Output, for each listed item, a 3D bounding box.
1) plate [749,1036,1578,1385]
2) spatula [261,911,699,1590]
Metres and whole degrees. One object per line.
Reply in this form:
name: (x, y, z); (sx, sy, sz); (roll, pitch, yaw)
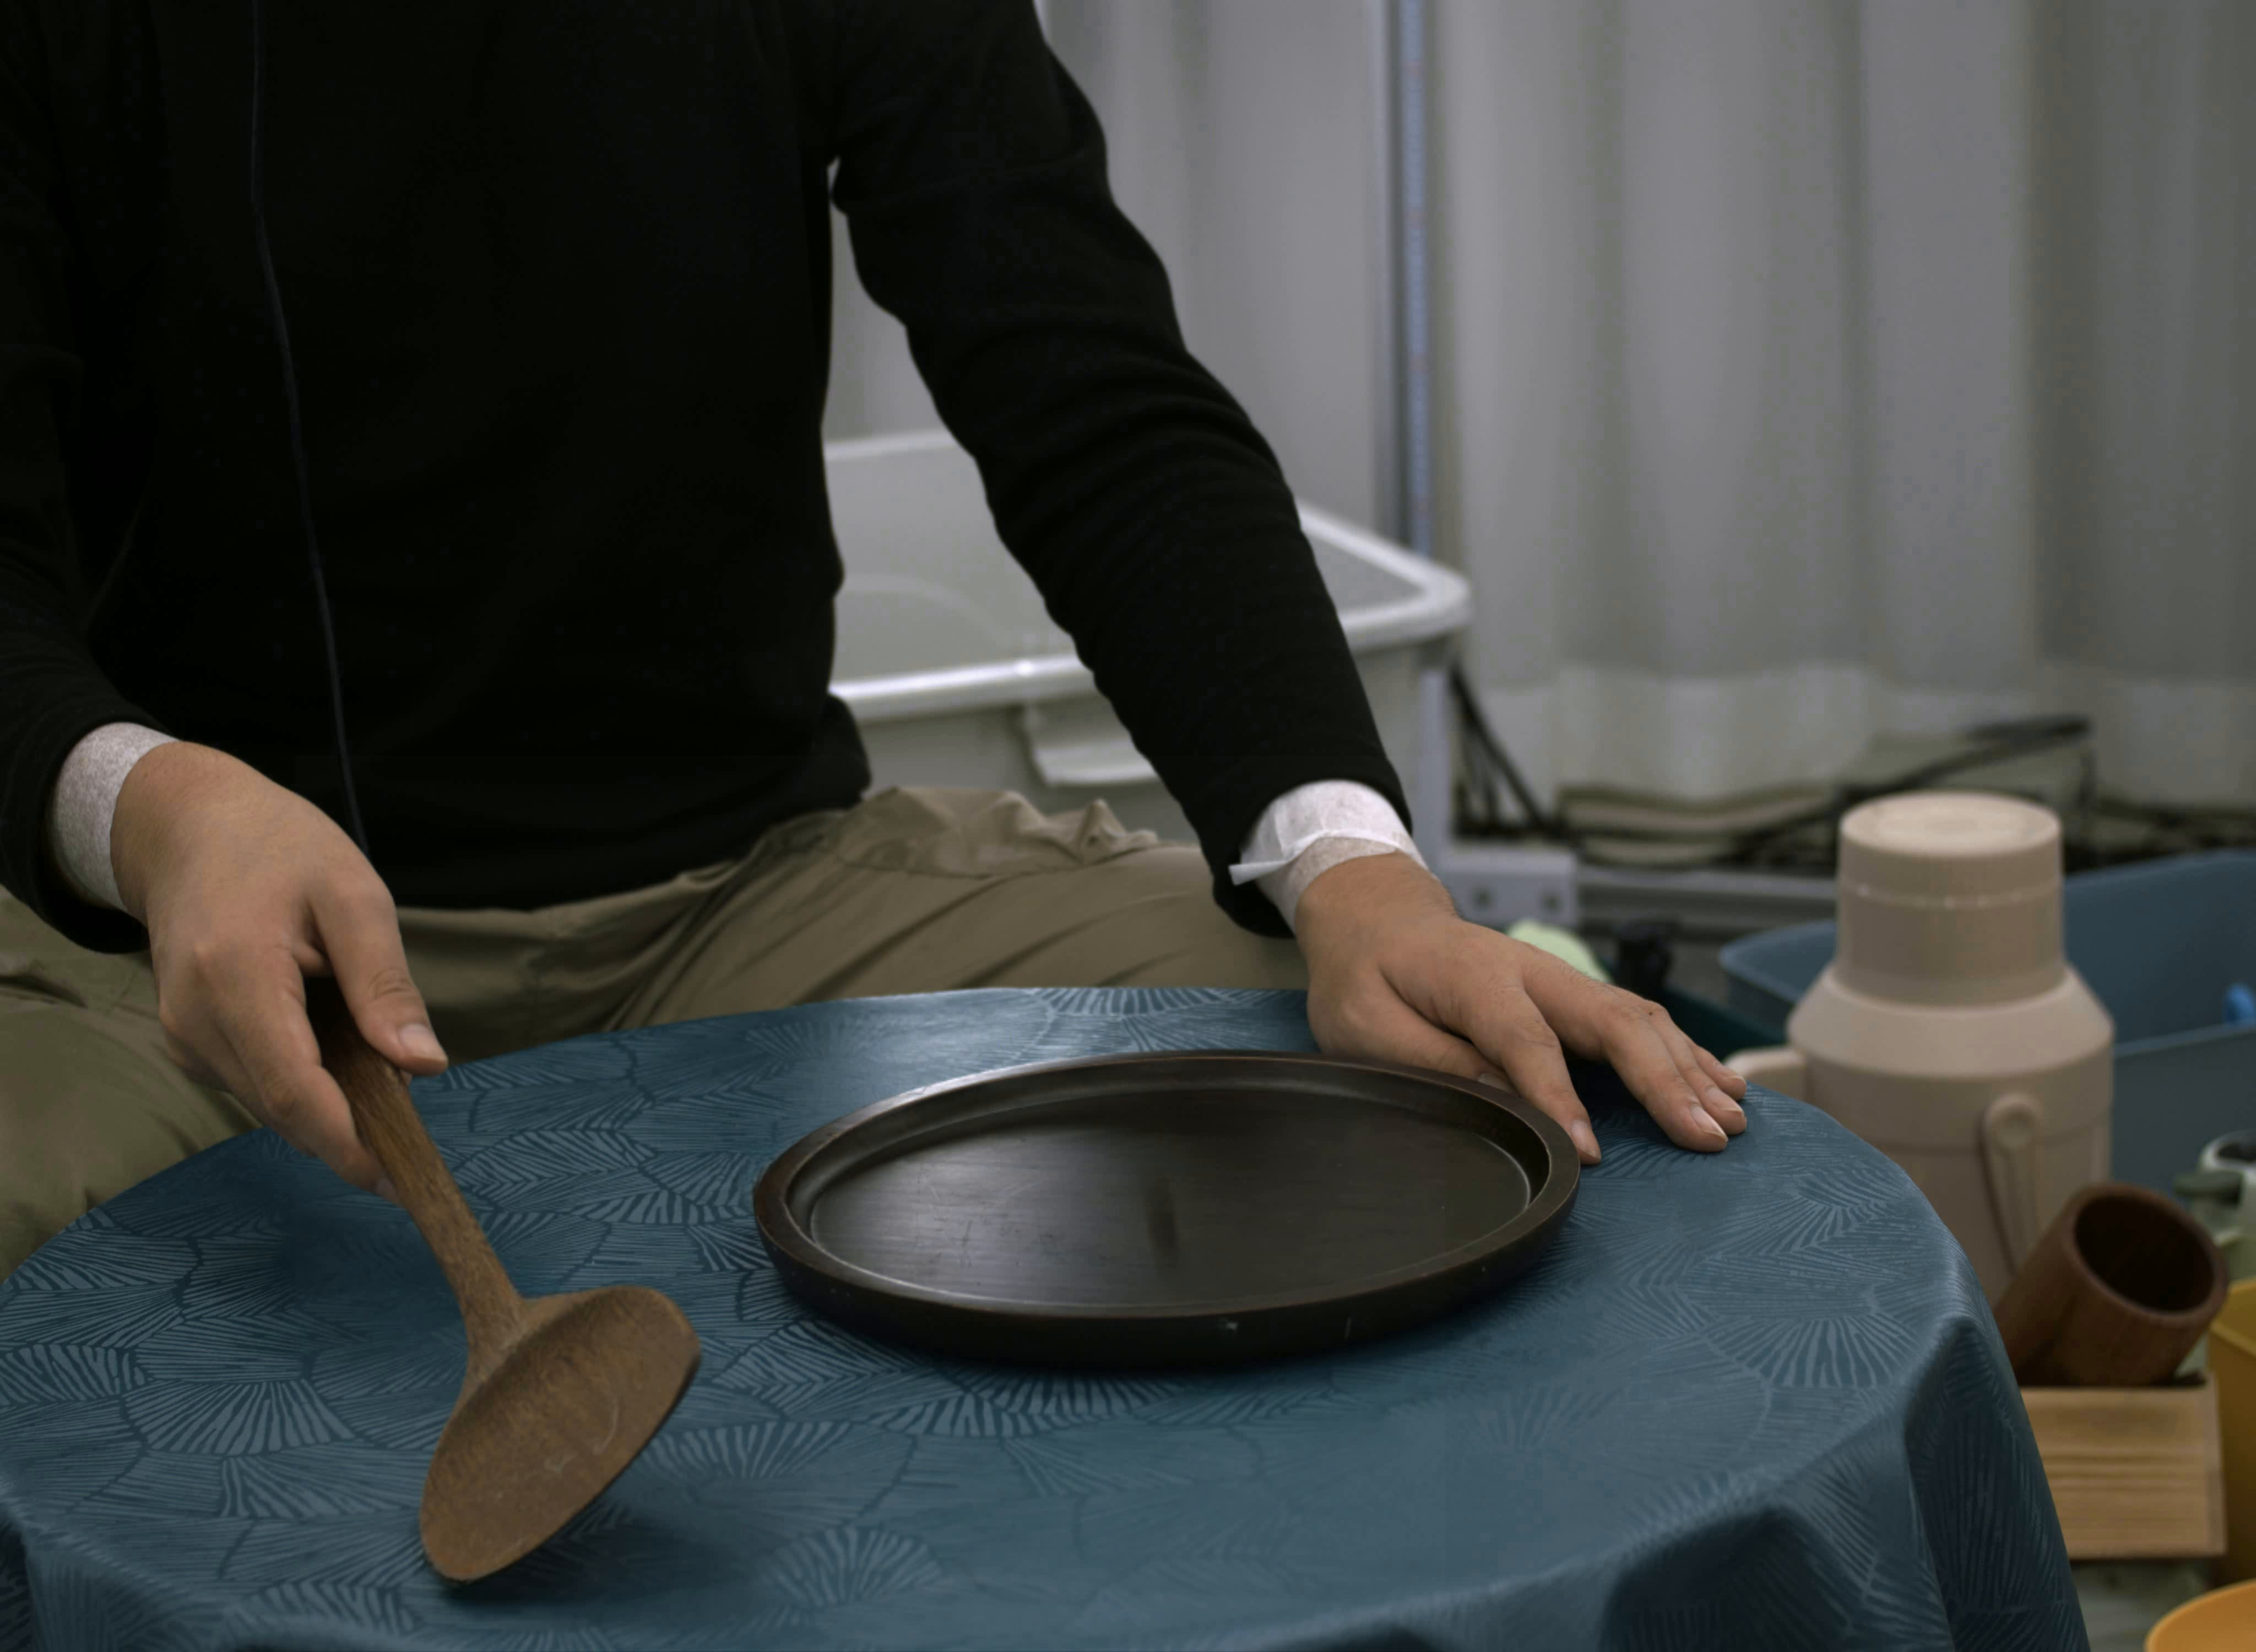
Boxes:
plate: (0.011, 0.116, 1.665); (0.254, 0.029, 0.256); (-3, 16, 1)
spatula: (-0.202, 0.104, 1.578); (0.096, 0.015, 0.390); (-44, 30, 1)
